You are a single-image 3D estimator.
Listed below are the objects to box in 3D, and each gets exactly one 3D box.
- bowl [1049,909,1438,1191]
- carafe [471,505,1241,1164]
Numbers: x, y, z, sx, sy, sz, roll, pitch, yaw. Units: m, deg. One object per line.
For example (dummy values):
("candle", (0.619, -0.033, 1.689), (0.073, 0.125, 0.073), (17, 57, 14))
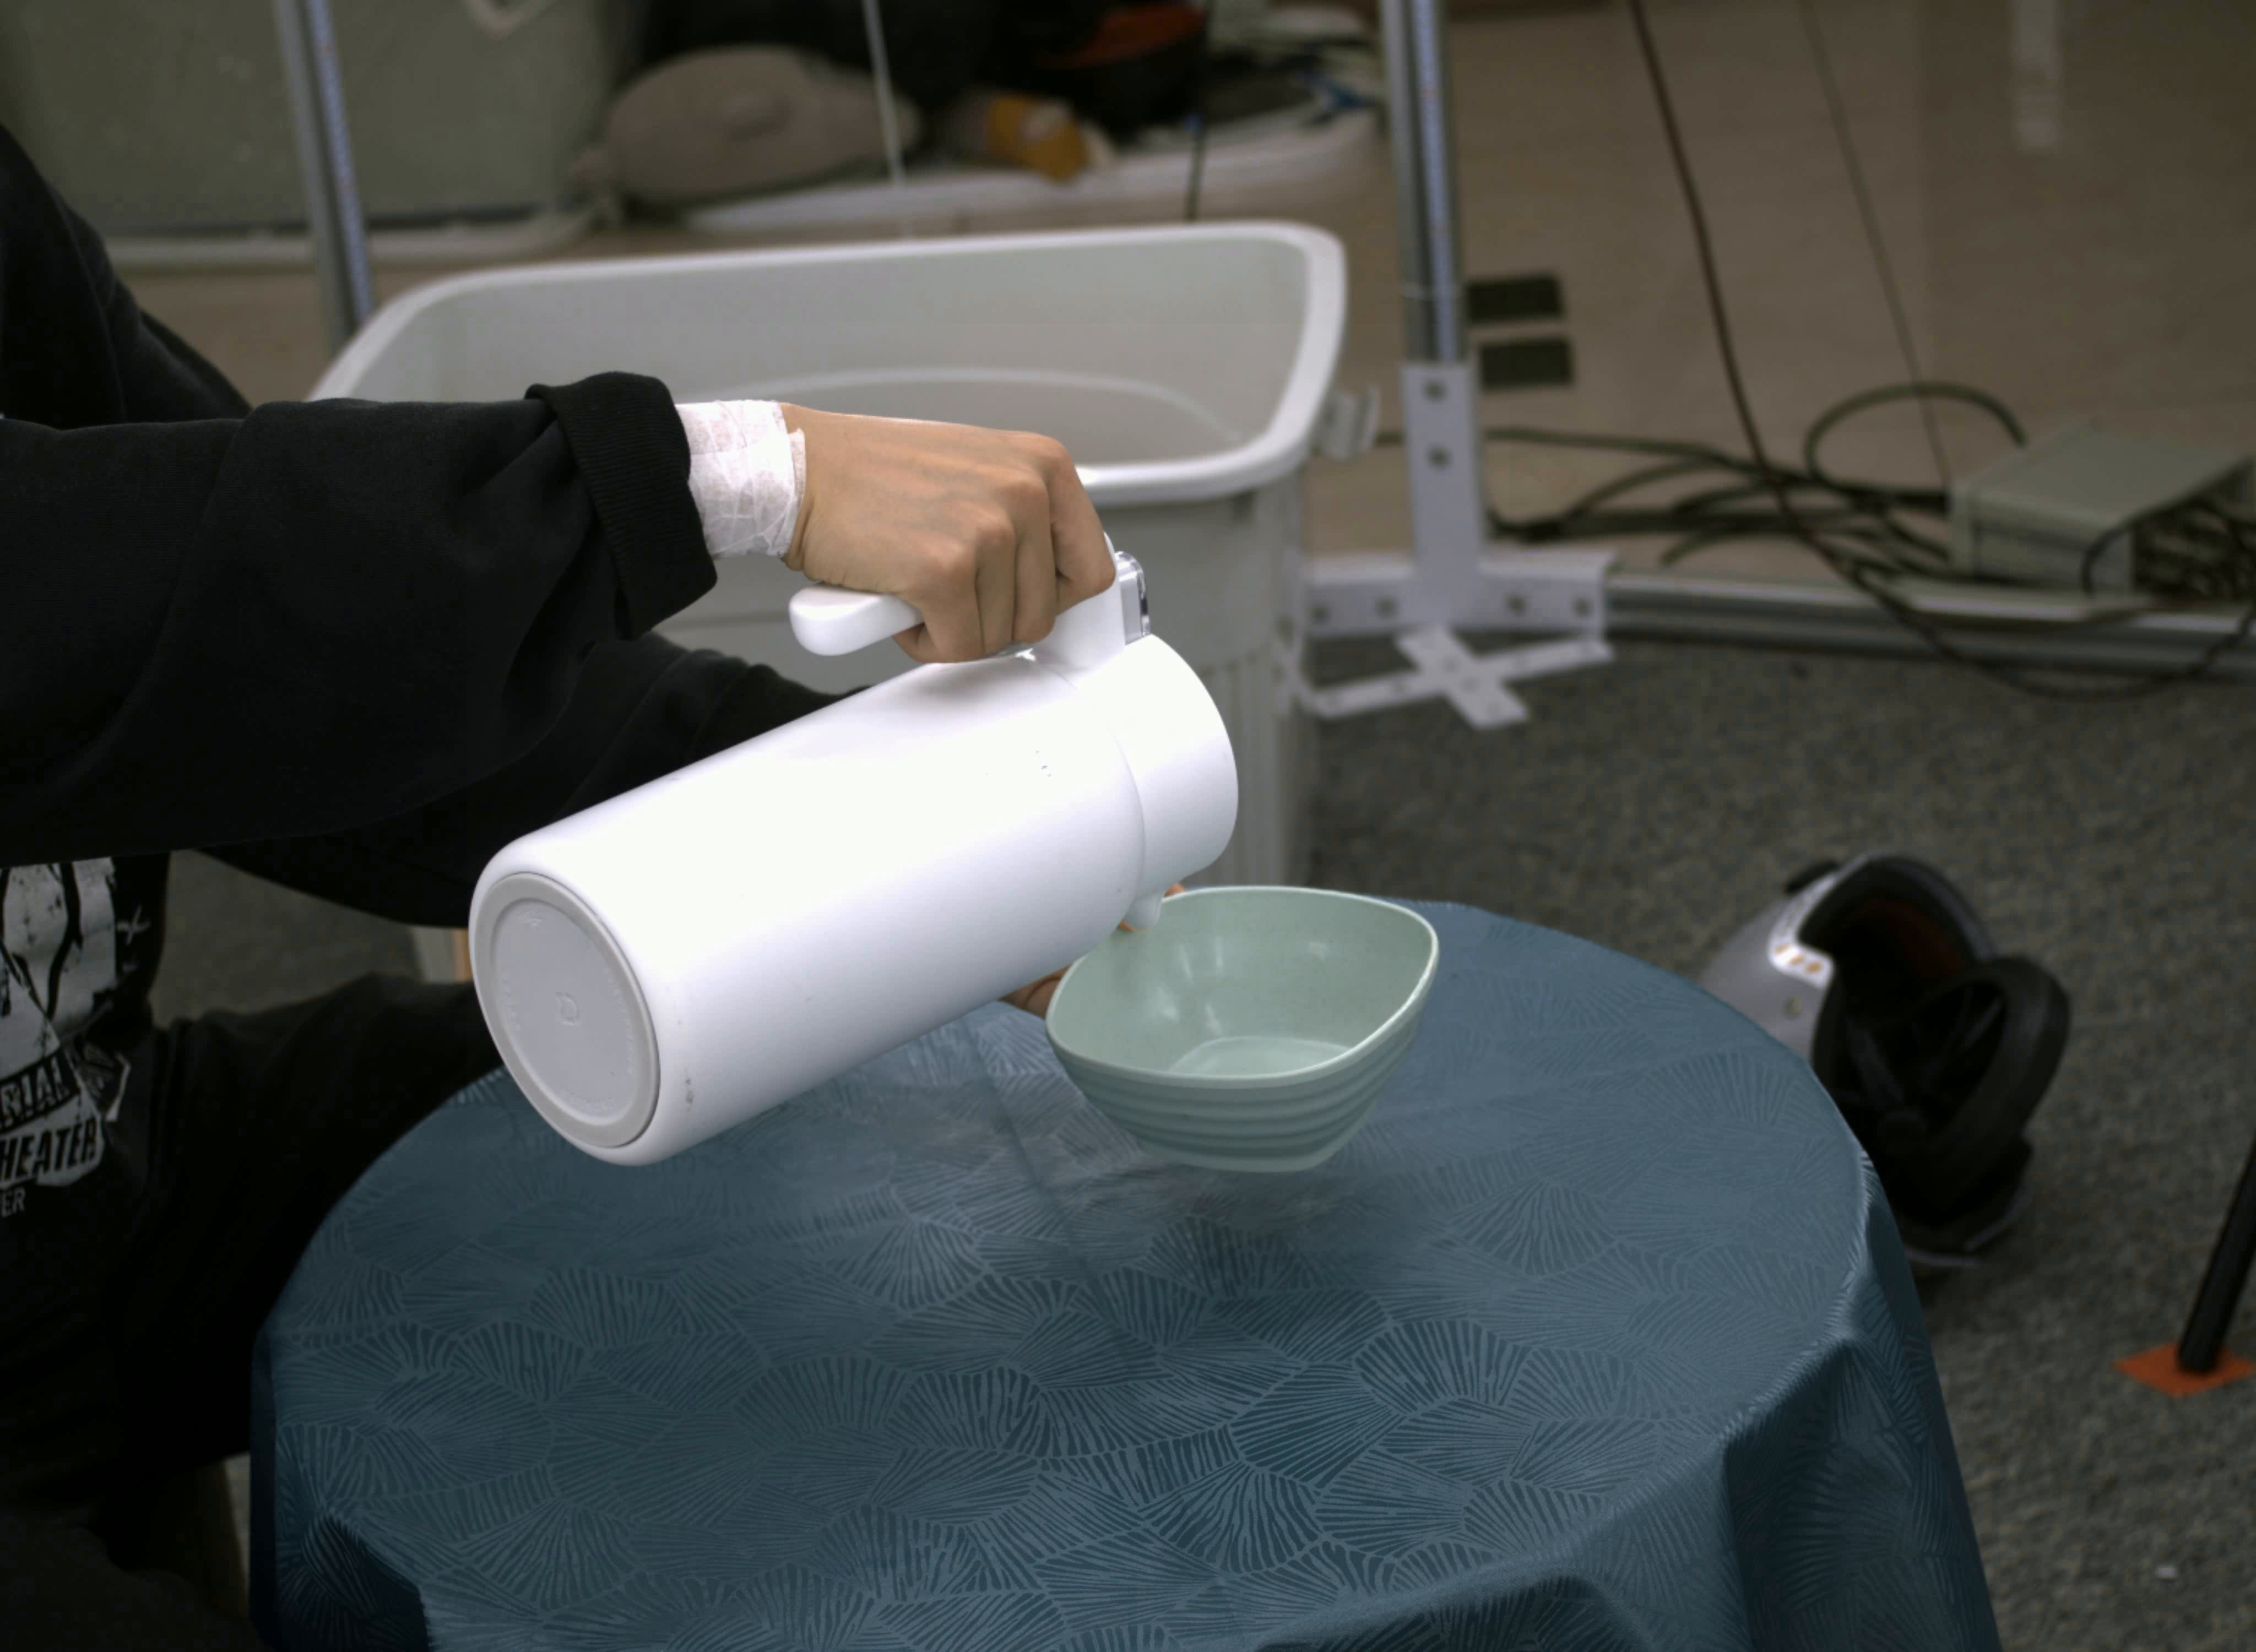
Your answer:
("bowl", (0.047, 0.089, 2.096), (0.151, 0.059, 0.149), (-10, 27, 5))
("carafe", (-0.090, 0.001, 1.942), (0.267, 0.176, 0.122), (-24, 33, -34))
